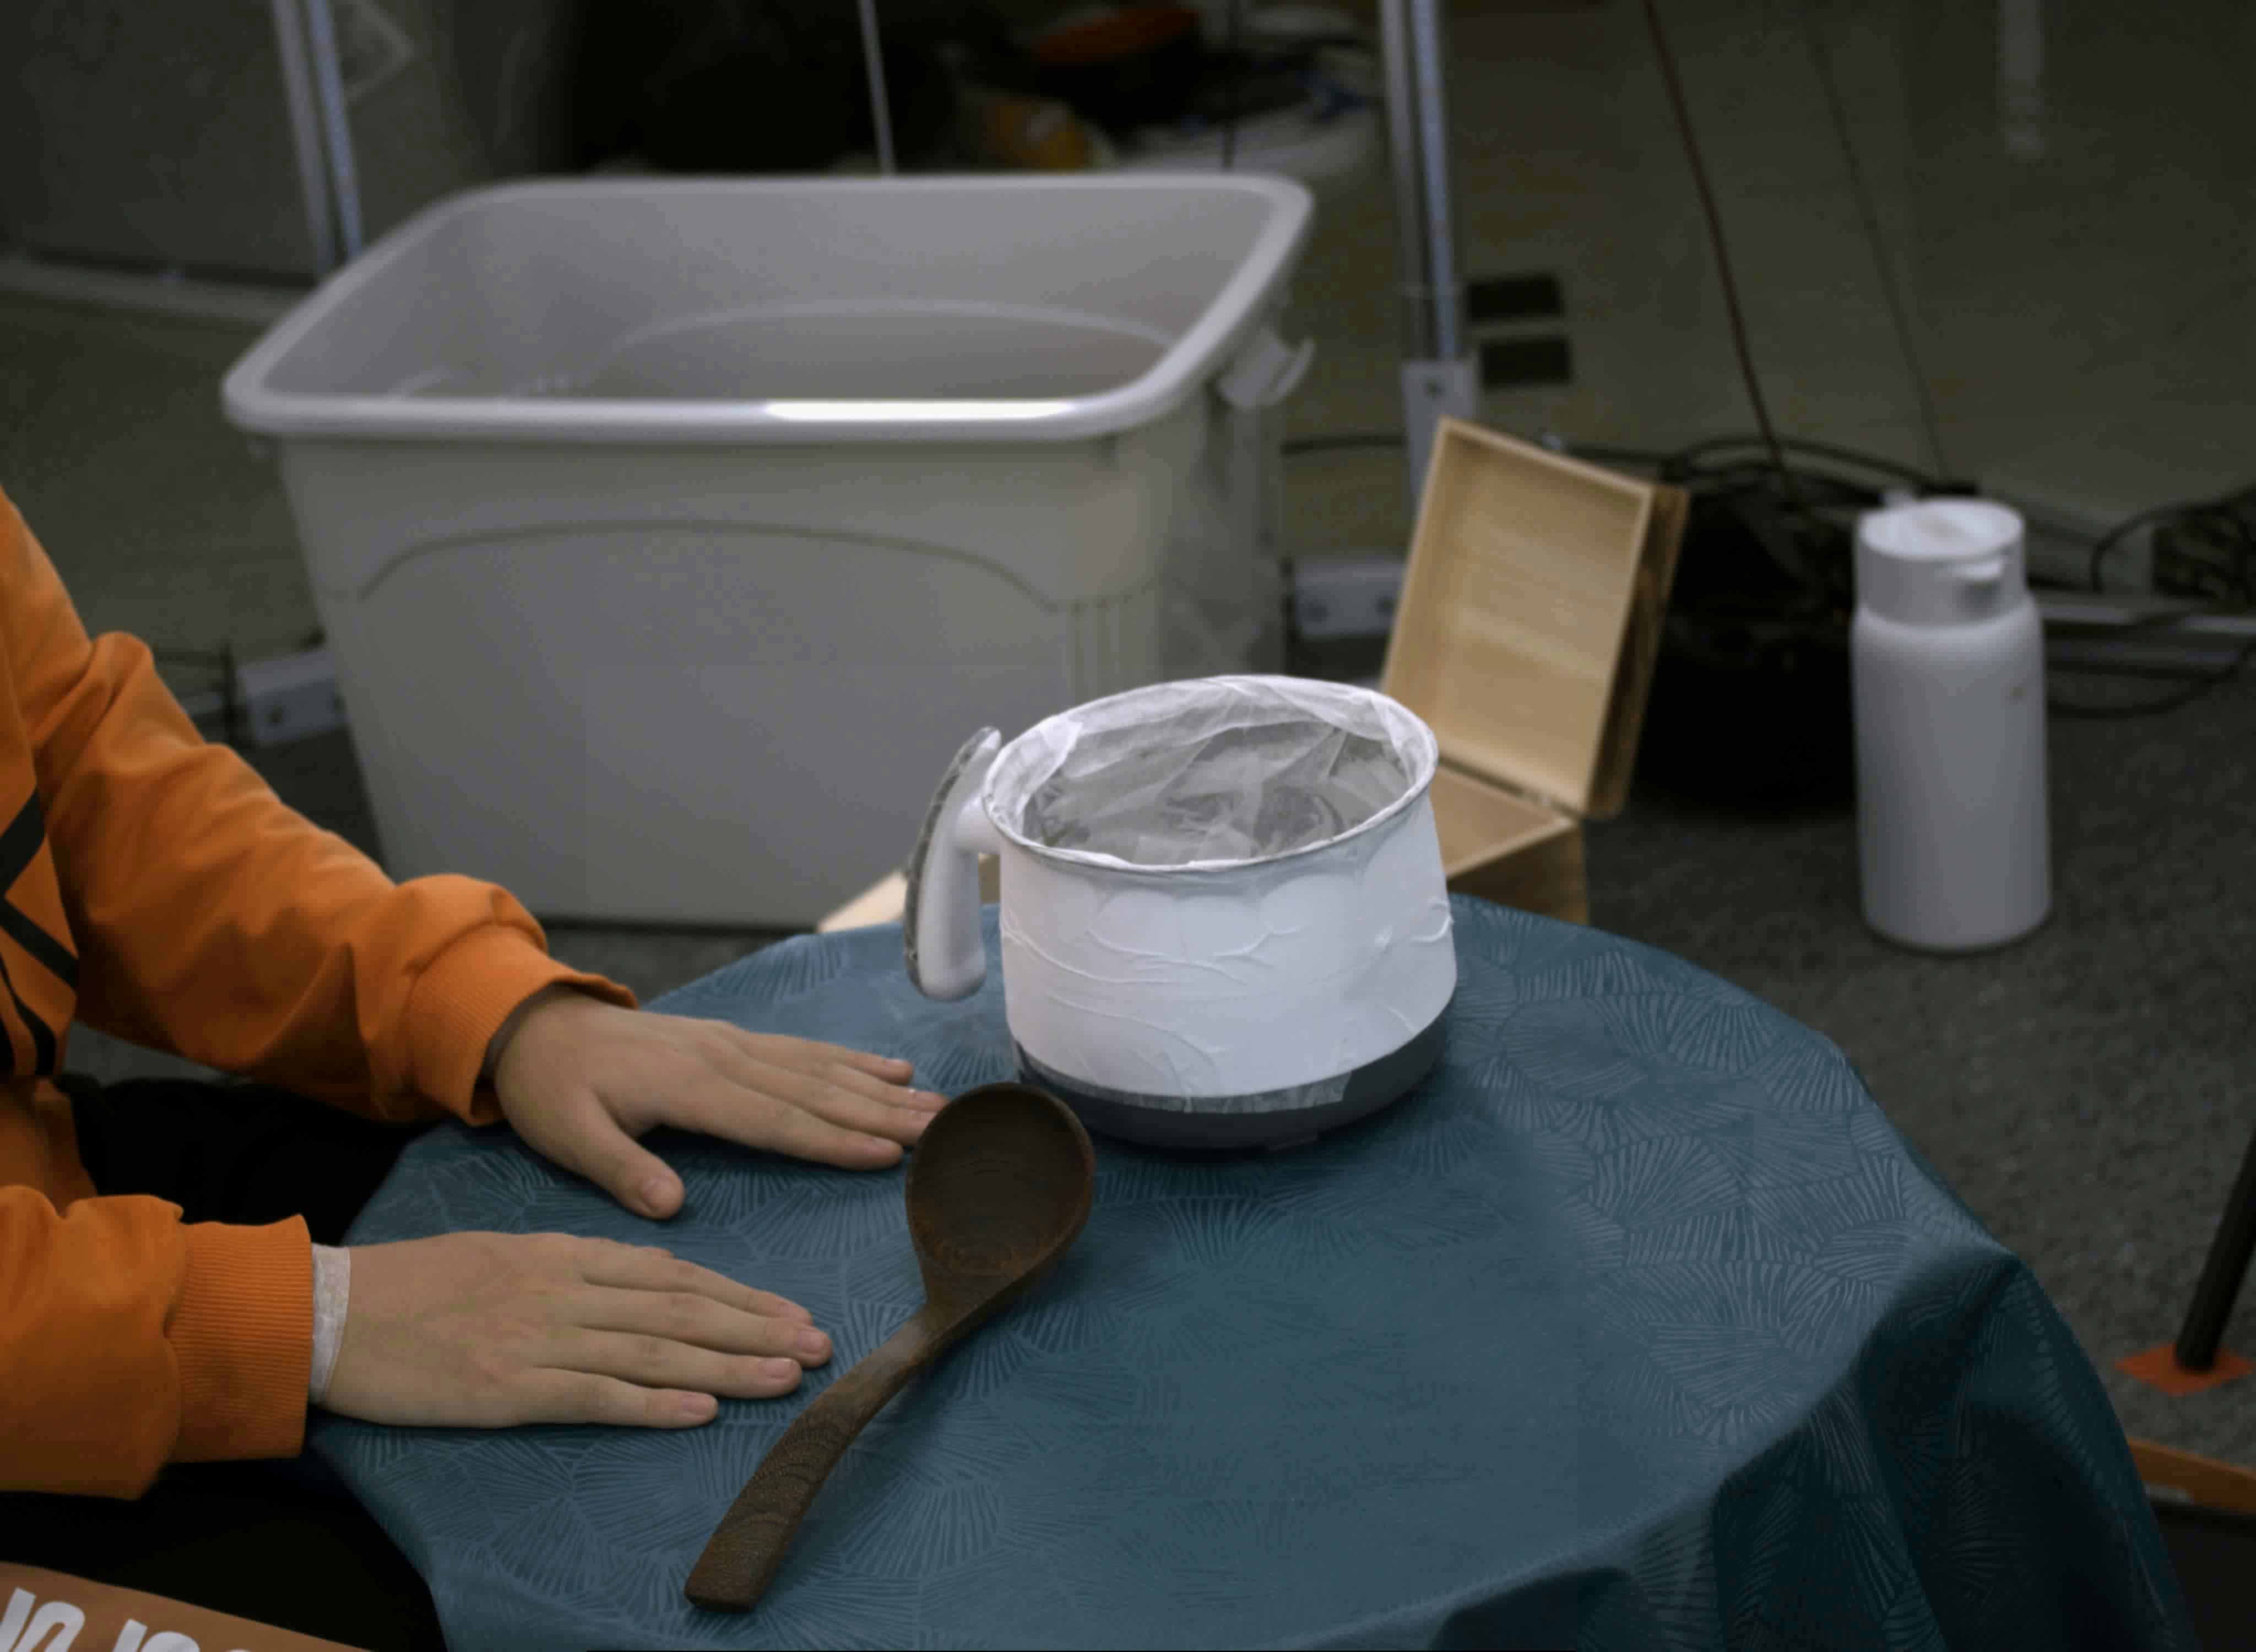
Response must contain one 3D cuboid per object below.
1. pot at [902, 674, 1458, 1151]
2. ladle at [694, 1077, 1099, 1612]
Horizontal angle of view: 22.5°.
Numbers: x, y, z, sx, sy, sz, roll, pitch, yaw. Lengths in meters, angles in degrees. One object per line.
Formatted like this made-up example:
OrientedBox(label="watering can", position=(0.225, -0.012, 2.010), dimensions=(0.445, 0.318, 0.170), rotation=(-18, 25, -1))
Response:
OrientedBox(label="pot", position=(0.013, 0.032, 2.208), dimensions=(0.233, 0.139, 0.176), rotation=(8, 28, 27))
OrientedBox(label="ladle", position=(-0.087, 0.177, 2.005), dimensions=(0.076, 0.072, 0.270), rotation=(3, 26, 25))
